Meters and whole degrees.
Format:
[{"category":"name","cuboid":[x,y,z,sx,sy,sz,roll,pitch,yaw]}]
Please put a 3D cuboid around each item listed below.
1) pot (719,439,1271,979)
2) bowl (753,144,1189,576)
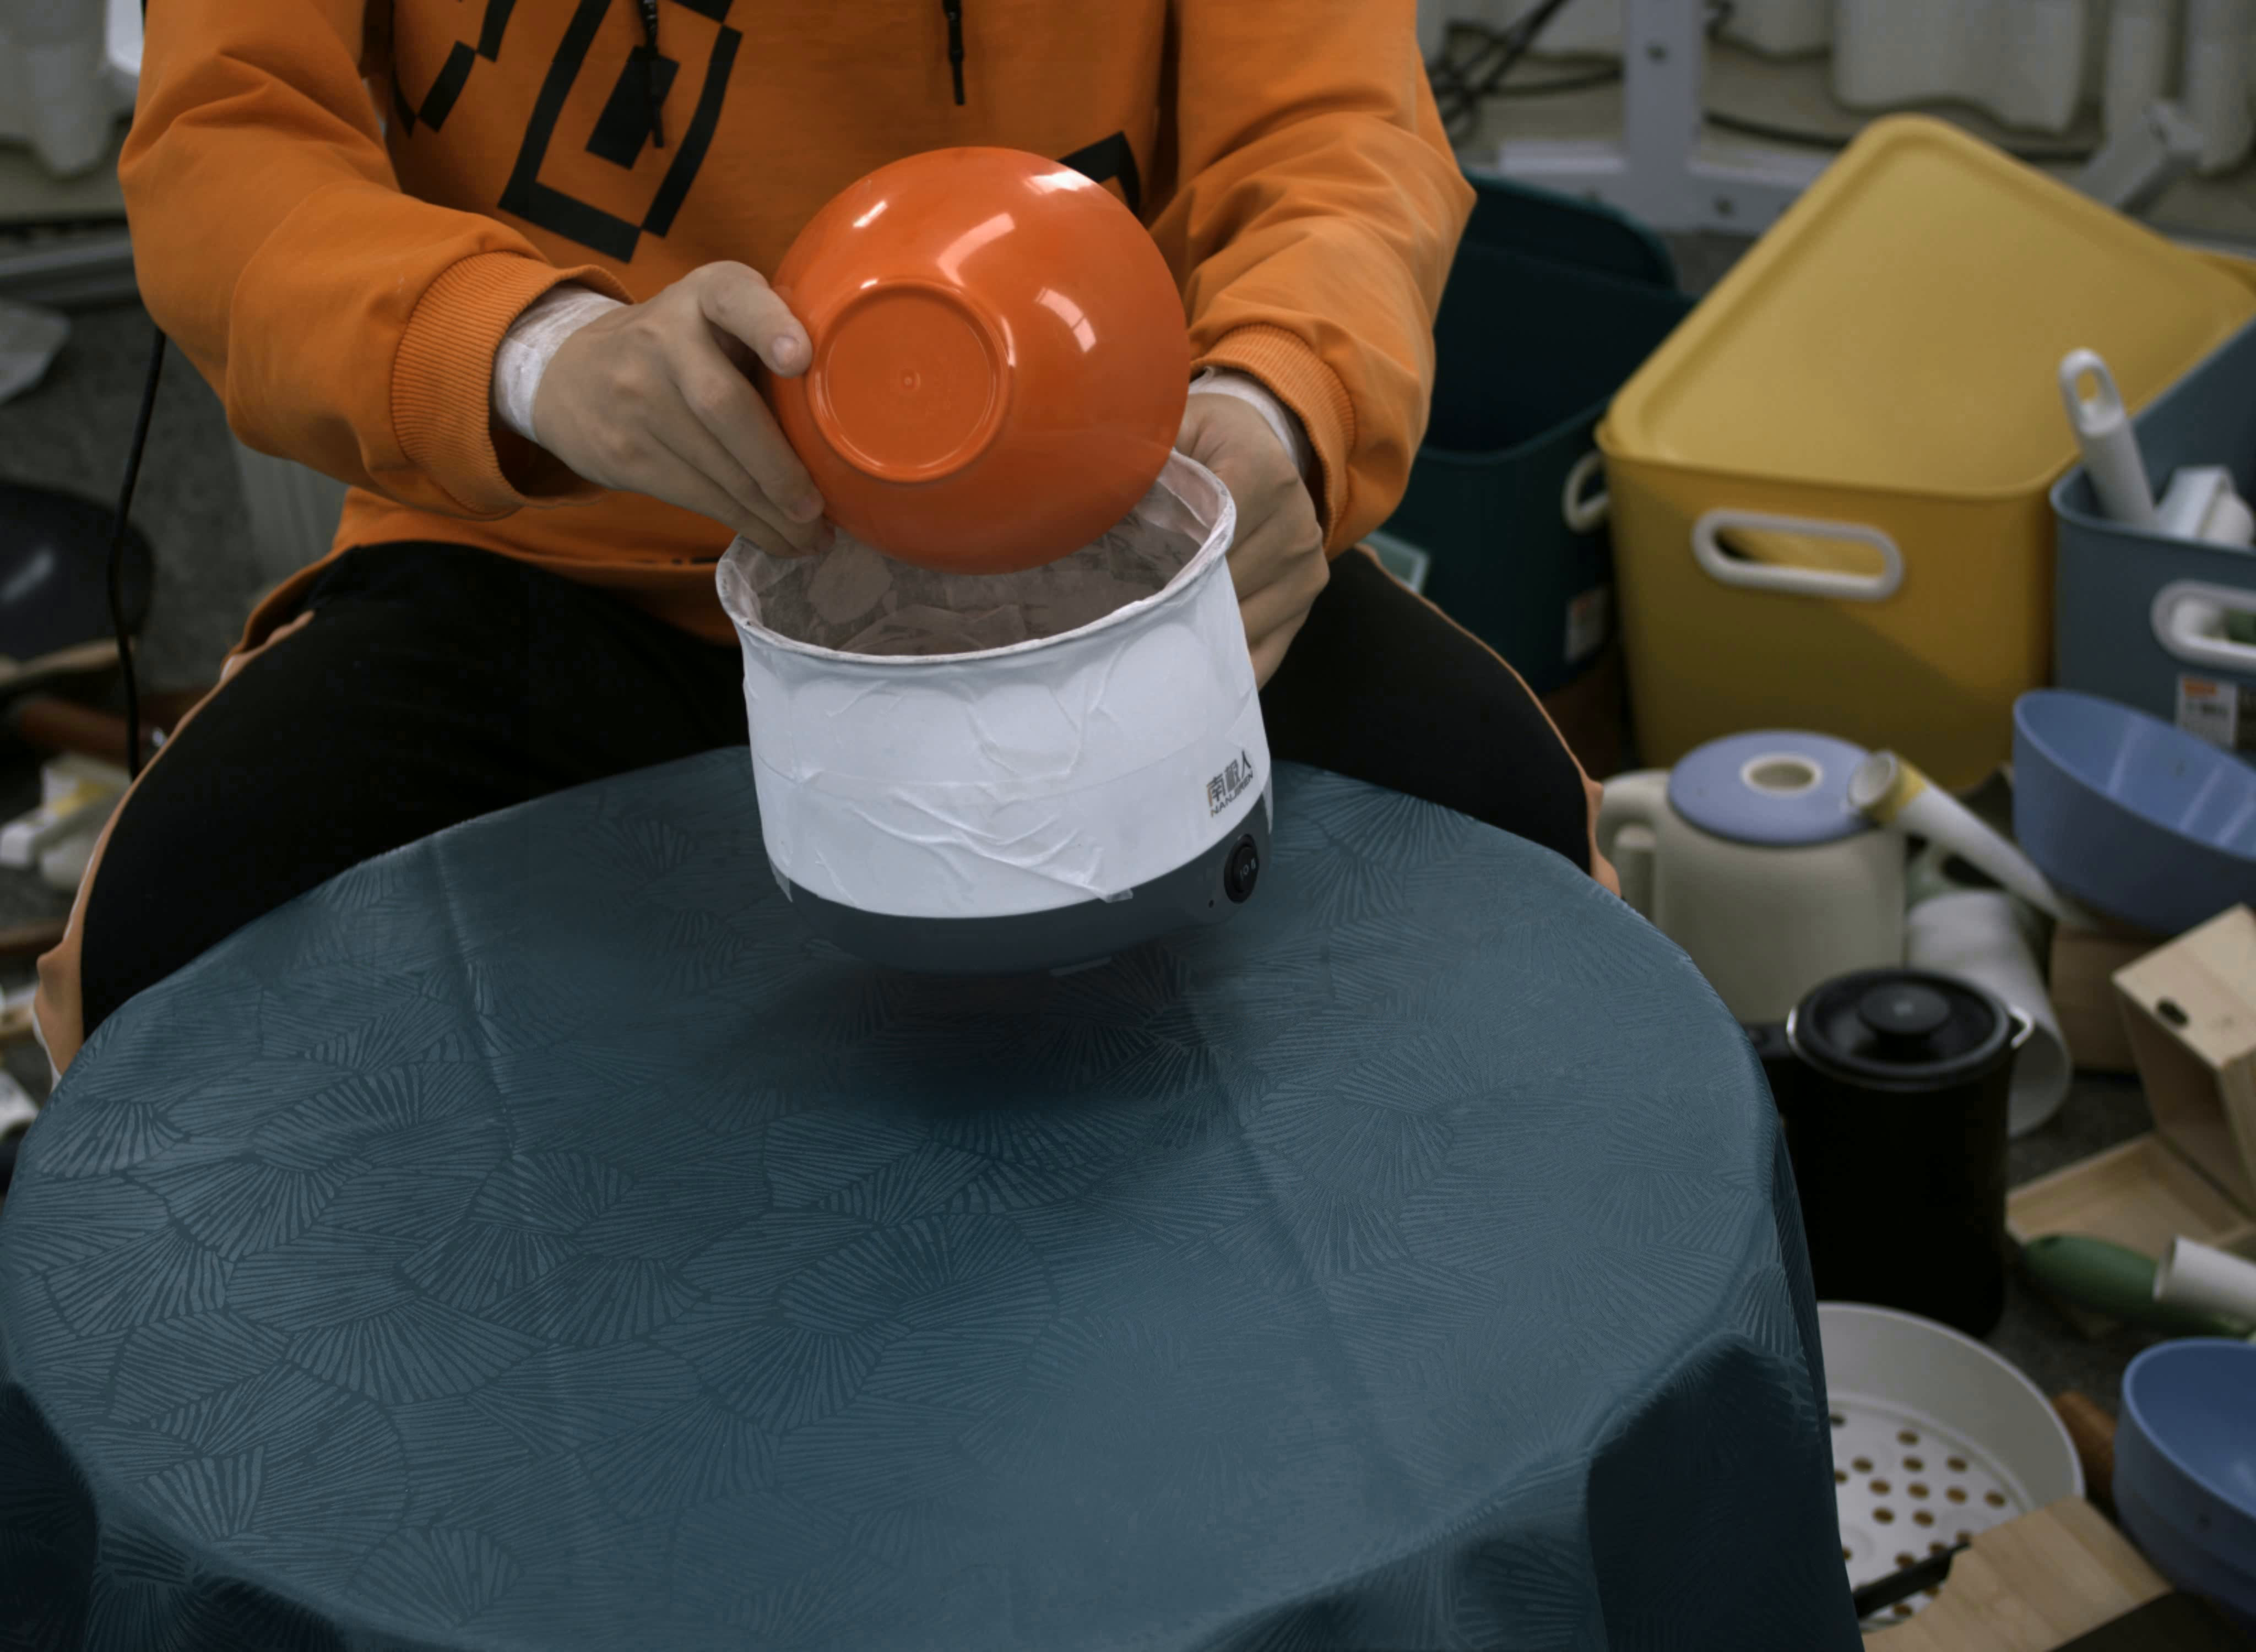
[{"category":"pot","cuboid":[-0.030,-0.052,1.940,0.177,0.135,0.238,7,30,27]},{"category":"bowl","cuboid":[-0.056,-0.151,1.881,0.147,0.148,0.105,-1,8,4]}]
